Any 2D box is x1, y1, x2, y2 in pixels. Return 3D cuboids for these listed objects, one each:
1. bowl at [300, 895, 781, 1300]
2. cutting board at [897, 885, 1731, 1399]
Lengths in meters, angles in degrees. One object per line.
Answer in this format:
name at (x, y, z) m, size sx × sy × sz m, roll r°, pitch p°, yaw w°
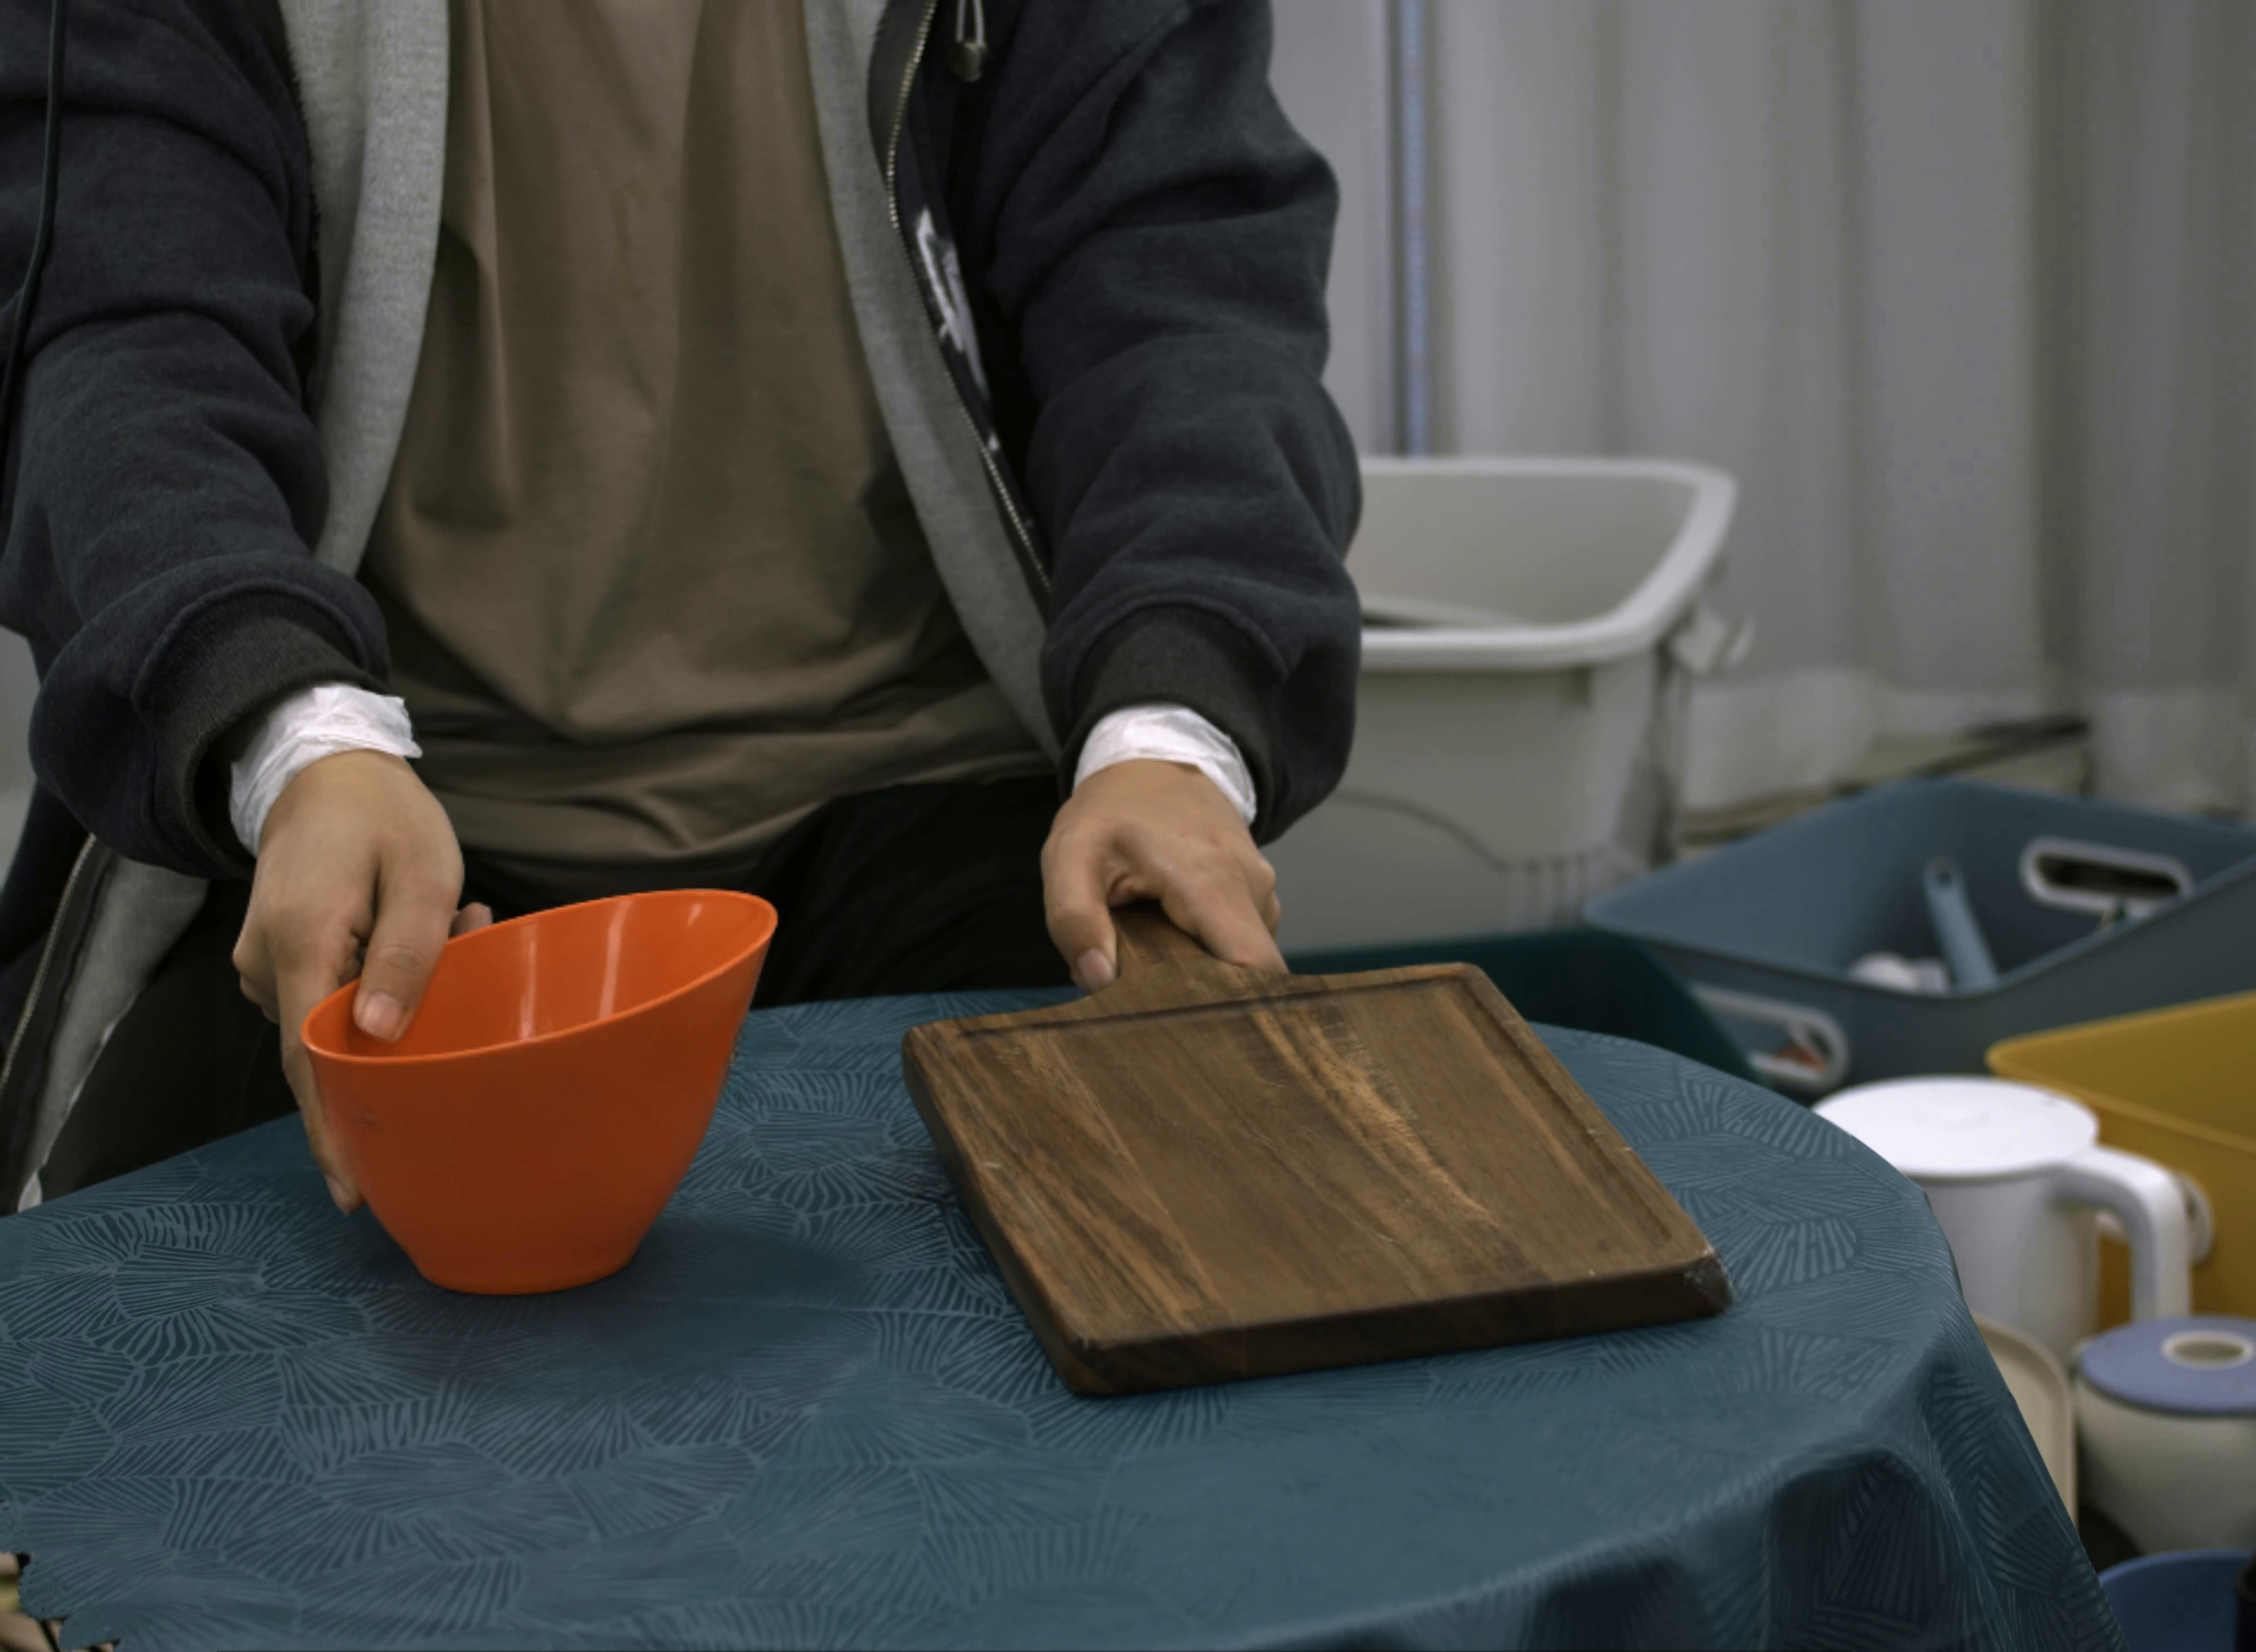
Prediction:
bowl at (-0.176, 0.085, 1.668) m, size 0.147 × 0.104 × 0.149 m, roll -2°, pitch 15°, yaw 0°
cutting board at (0.038, 0.087, 1.715) m, size 0.200 × 0.023 × 0.356 m, roll -6°, pitch 20°, yaw -12°
